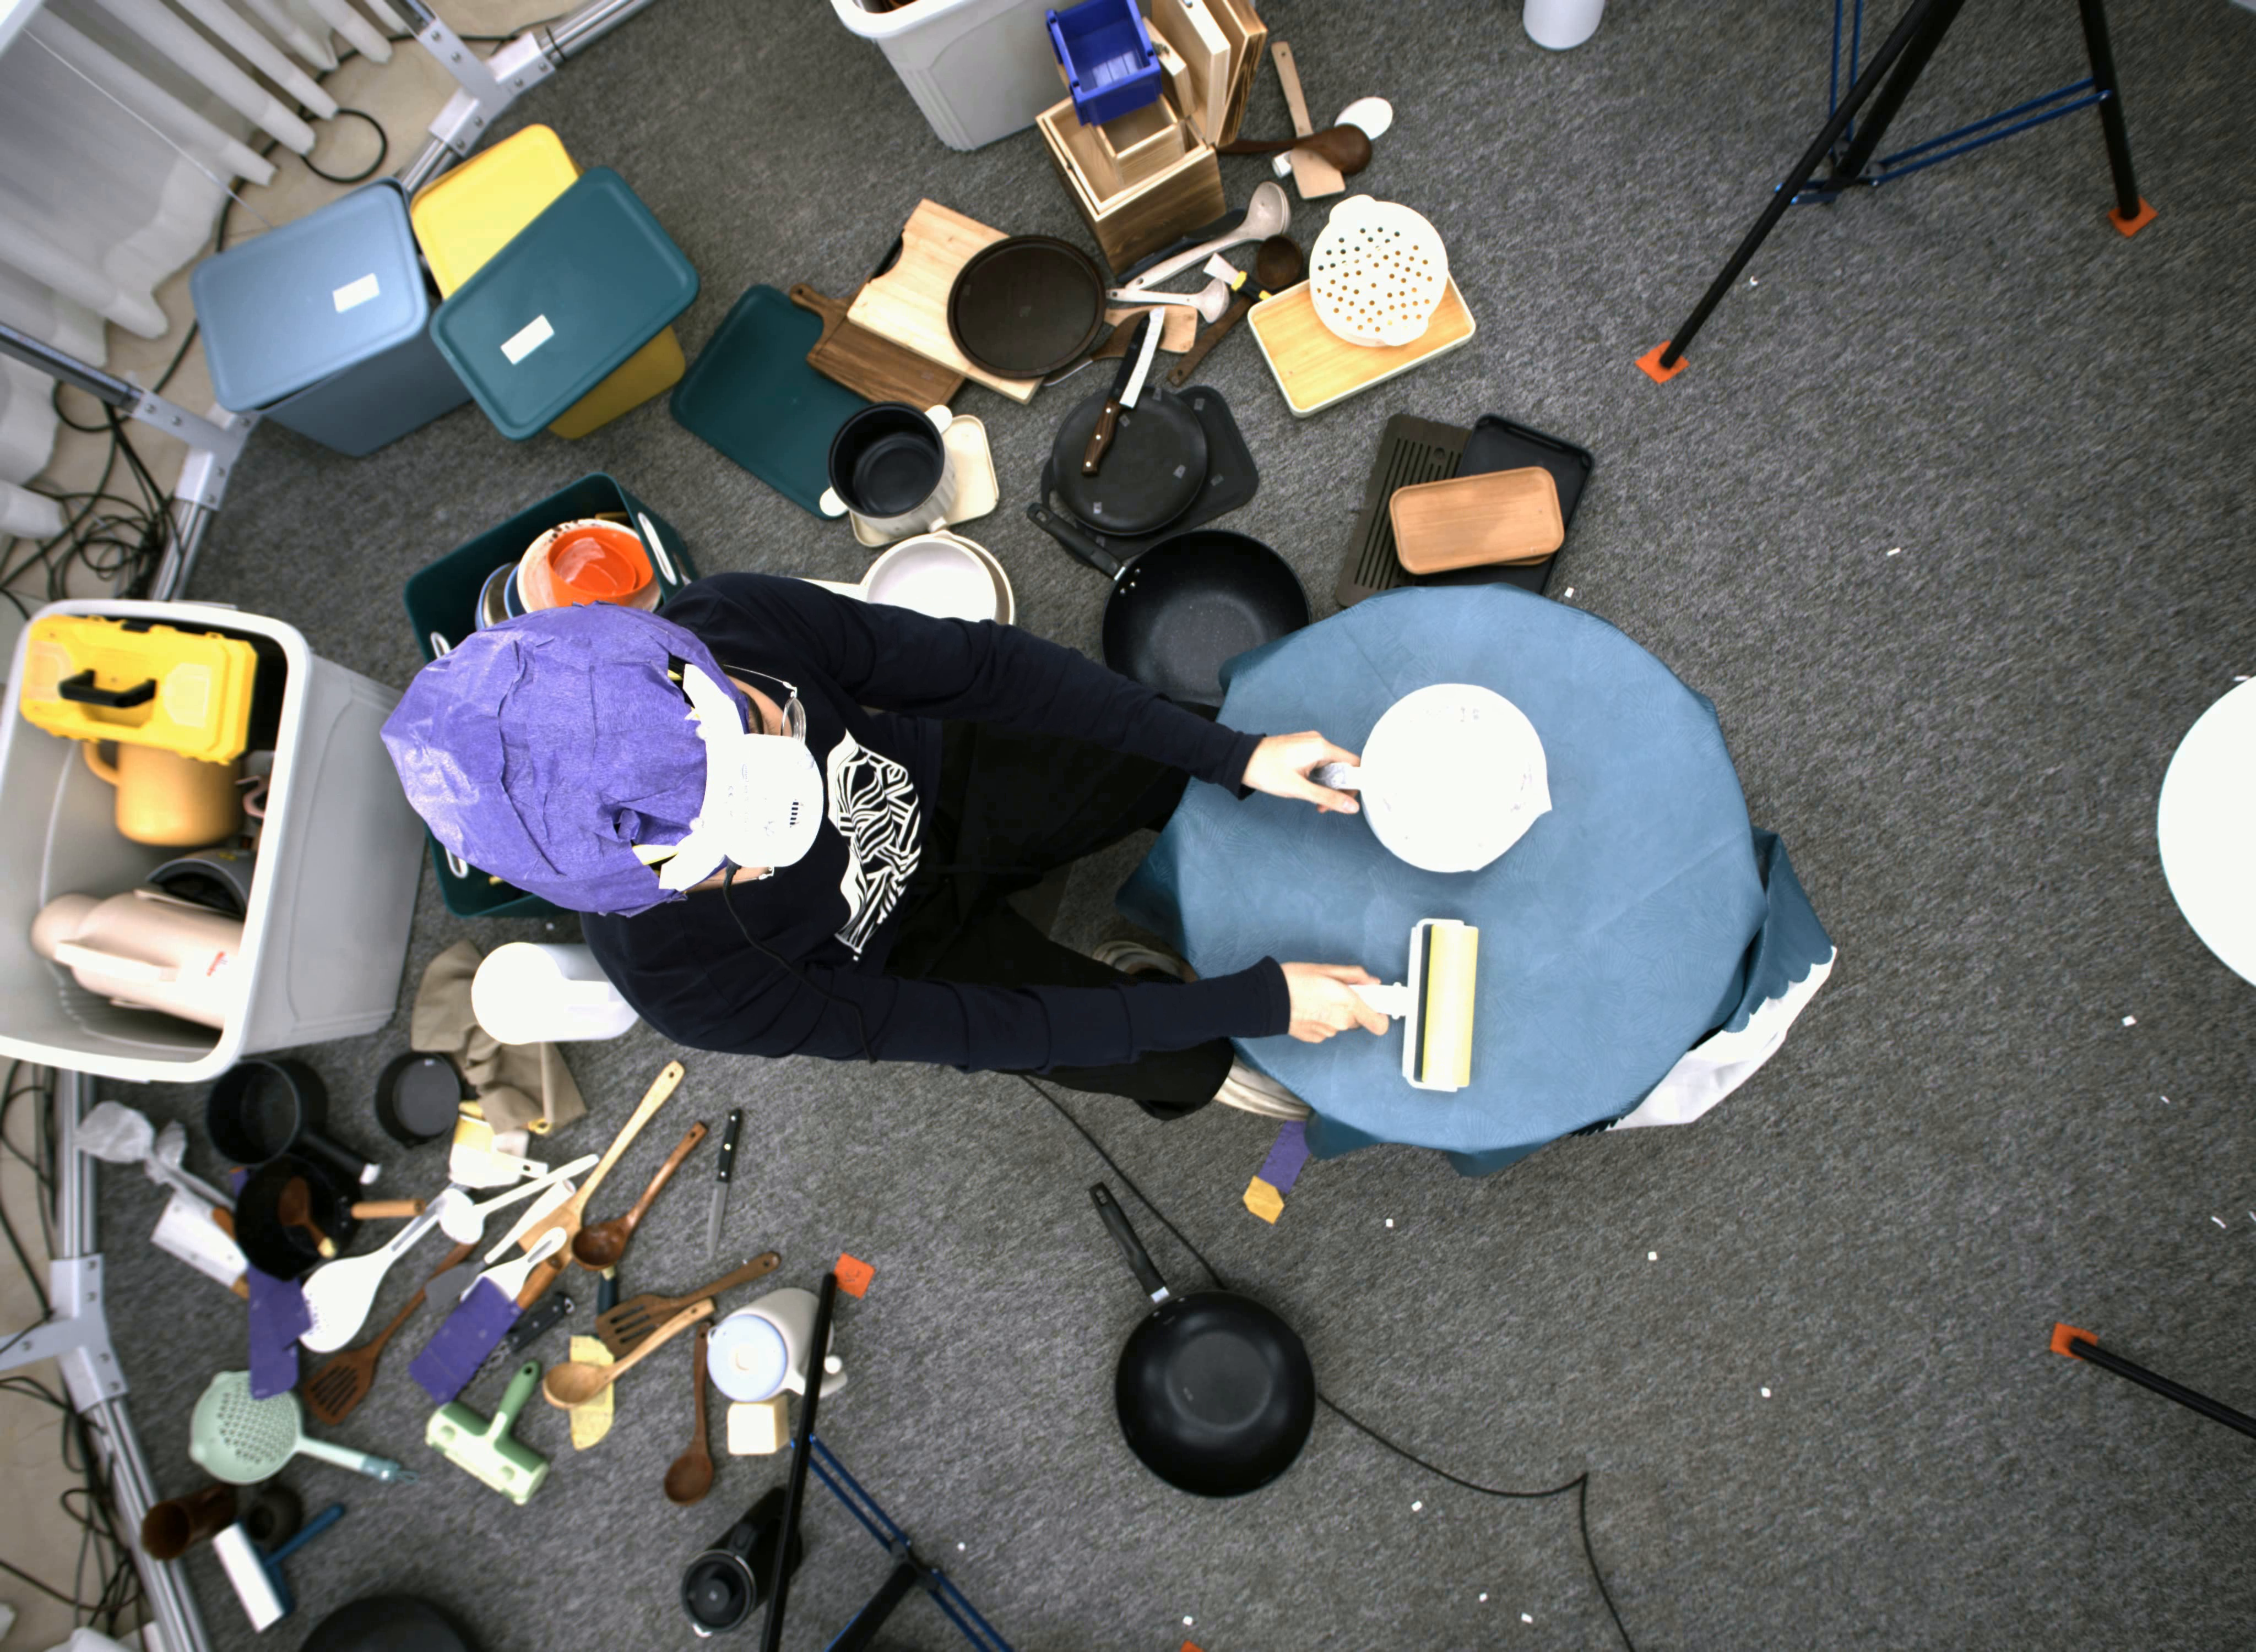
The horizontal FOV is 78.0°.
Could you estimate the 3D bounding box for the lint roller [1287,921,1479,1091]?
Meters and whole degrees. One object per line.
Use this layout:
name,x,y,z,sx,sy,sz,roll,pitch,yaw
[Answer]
lint roller,0.261,0.179,1.413,0.192,0.051,0.173,3,88,-4

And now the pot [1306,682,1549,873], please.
pot,0.296,-0.045,1.389,0.234,0.137,0.177,-1,84,9
